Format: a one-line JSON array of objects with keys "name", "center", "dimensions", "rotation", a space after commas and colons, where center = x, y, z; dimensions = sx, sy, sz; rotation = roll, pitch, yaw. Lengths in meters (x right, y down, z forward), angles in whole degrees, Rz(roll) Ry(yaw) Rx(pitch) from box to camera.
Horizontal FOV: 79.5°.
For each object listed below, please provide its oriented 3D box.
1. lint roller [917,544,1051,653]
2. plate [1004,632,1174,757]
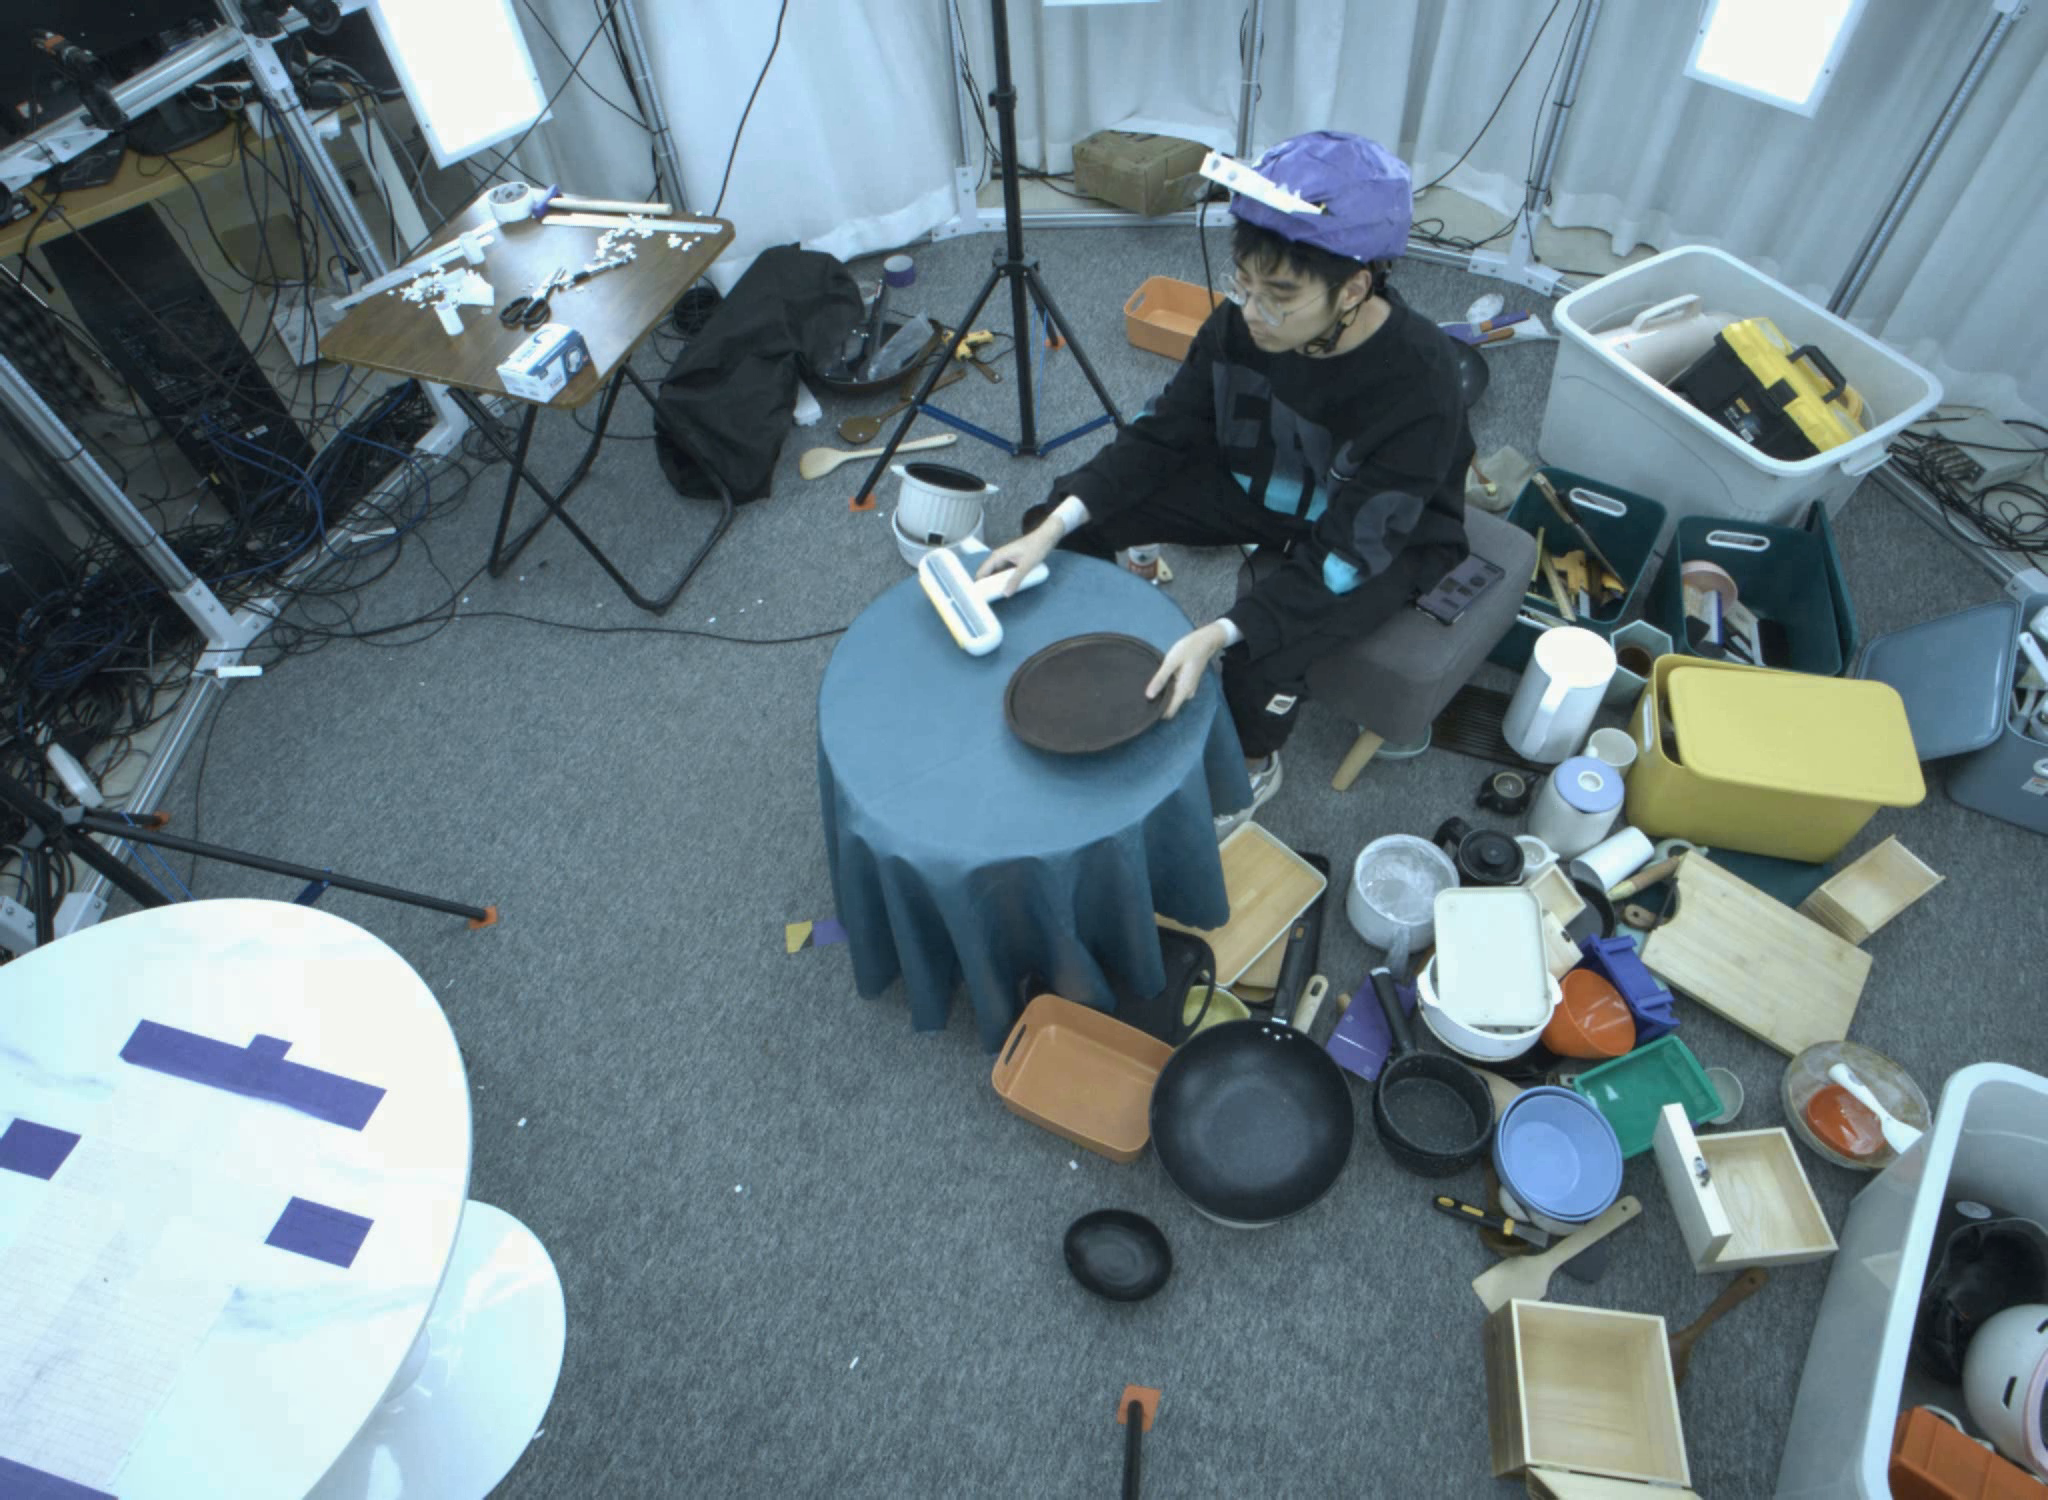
[{"name": "lint roller", "center": [-0.049, -0.255, 1.914], "dimensions": [0.193, 0.075, 0.190], "rotation": [-25, 64, -7]}, {"name": "plate", "center": [0.094, -0.082, 1.797], "dimensions": [0.253, 0.029, 0.252], "rotation": [-7, 45, 8]}]
